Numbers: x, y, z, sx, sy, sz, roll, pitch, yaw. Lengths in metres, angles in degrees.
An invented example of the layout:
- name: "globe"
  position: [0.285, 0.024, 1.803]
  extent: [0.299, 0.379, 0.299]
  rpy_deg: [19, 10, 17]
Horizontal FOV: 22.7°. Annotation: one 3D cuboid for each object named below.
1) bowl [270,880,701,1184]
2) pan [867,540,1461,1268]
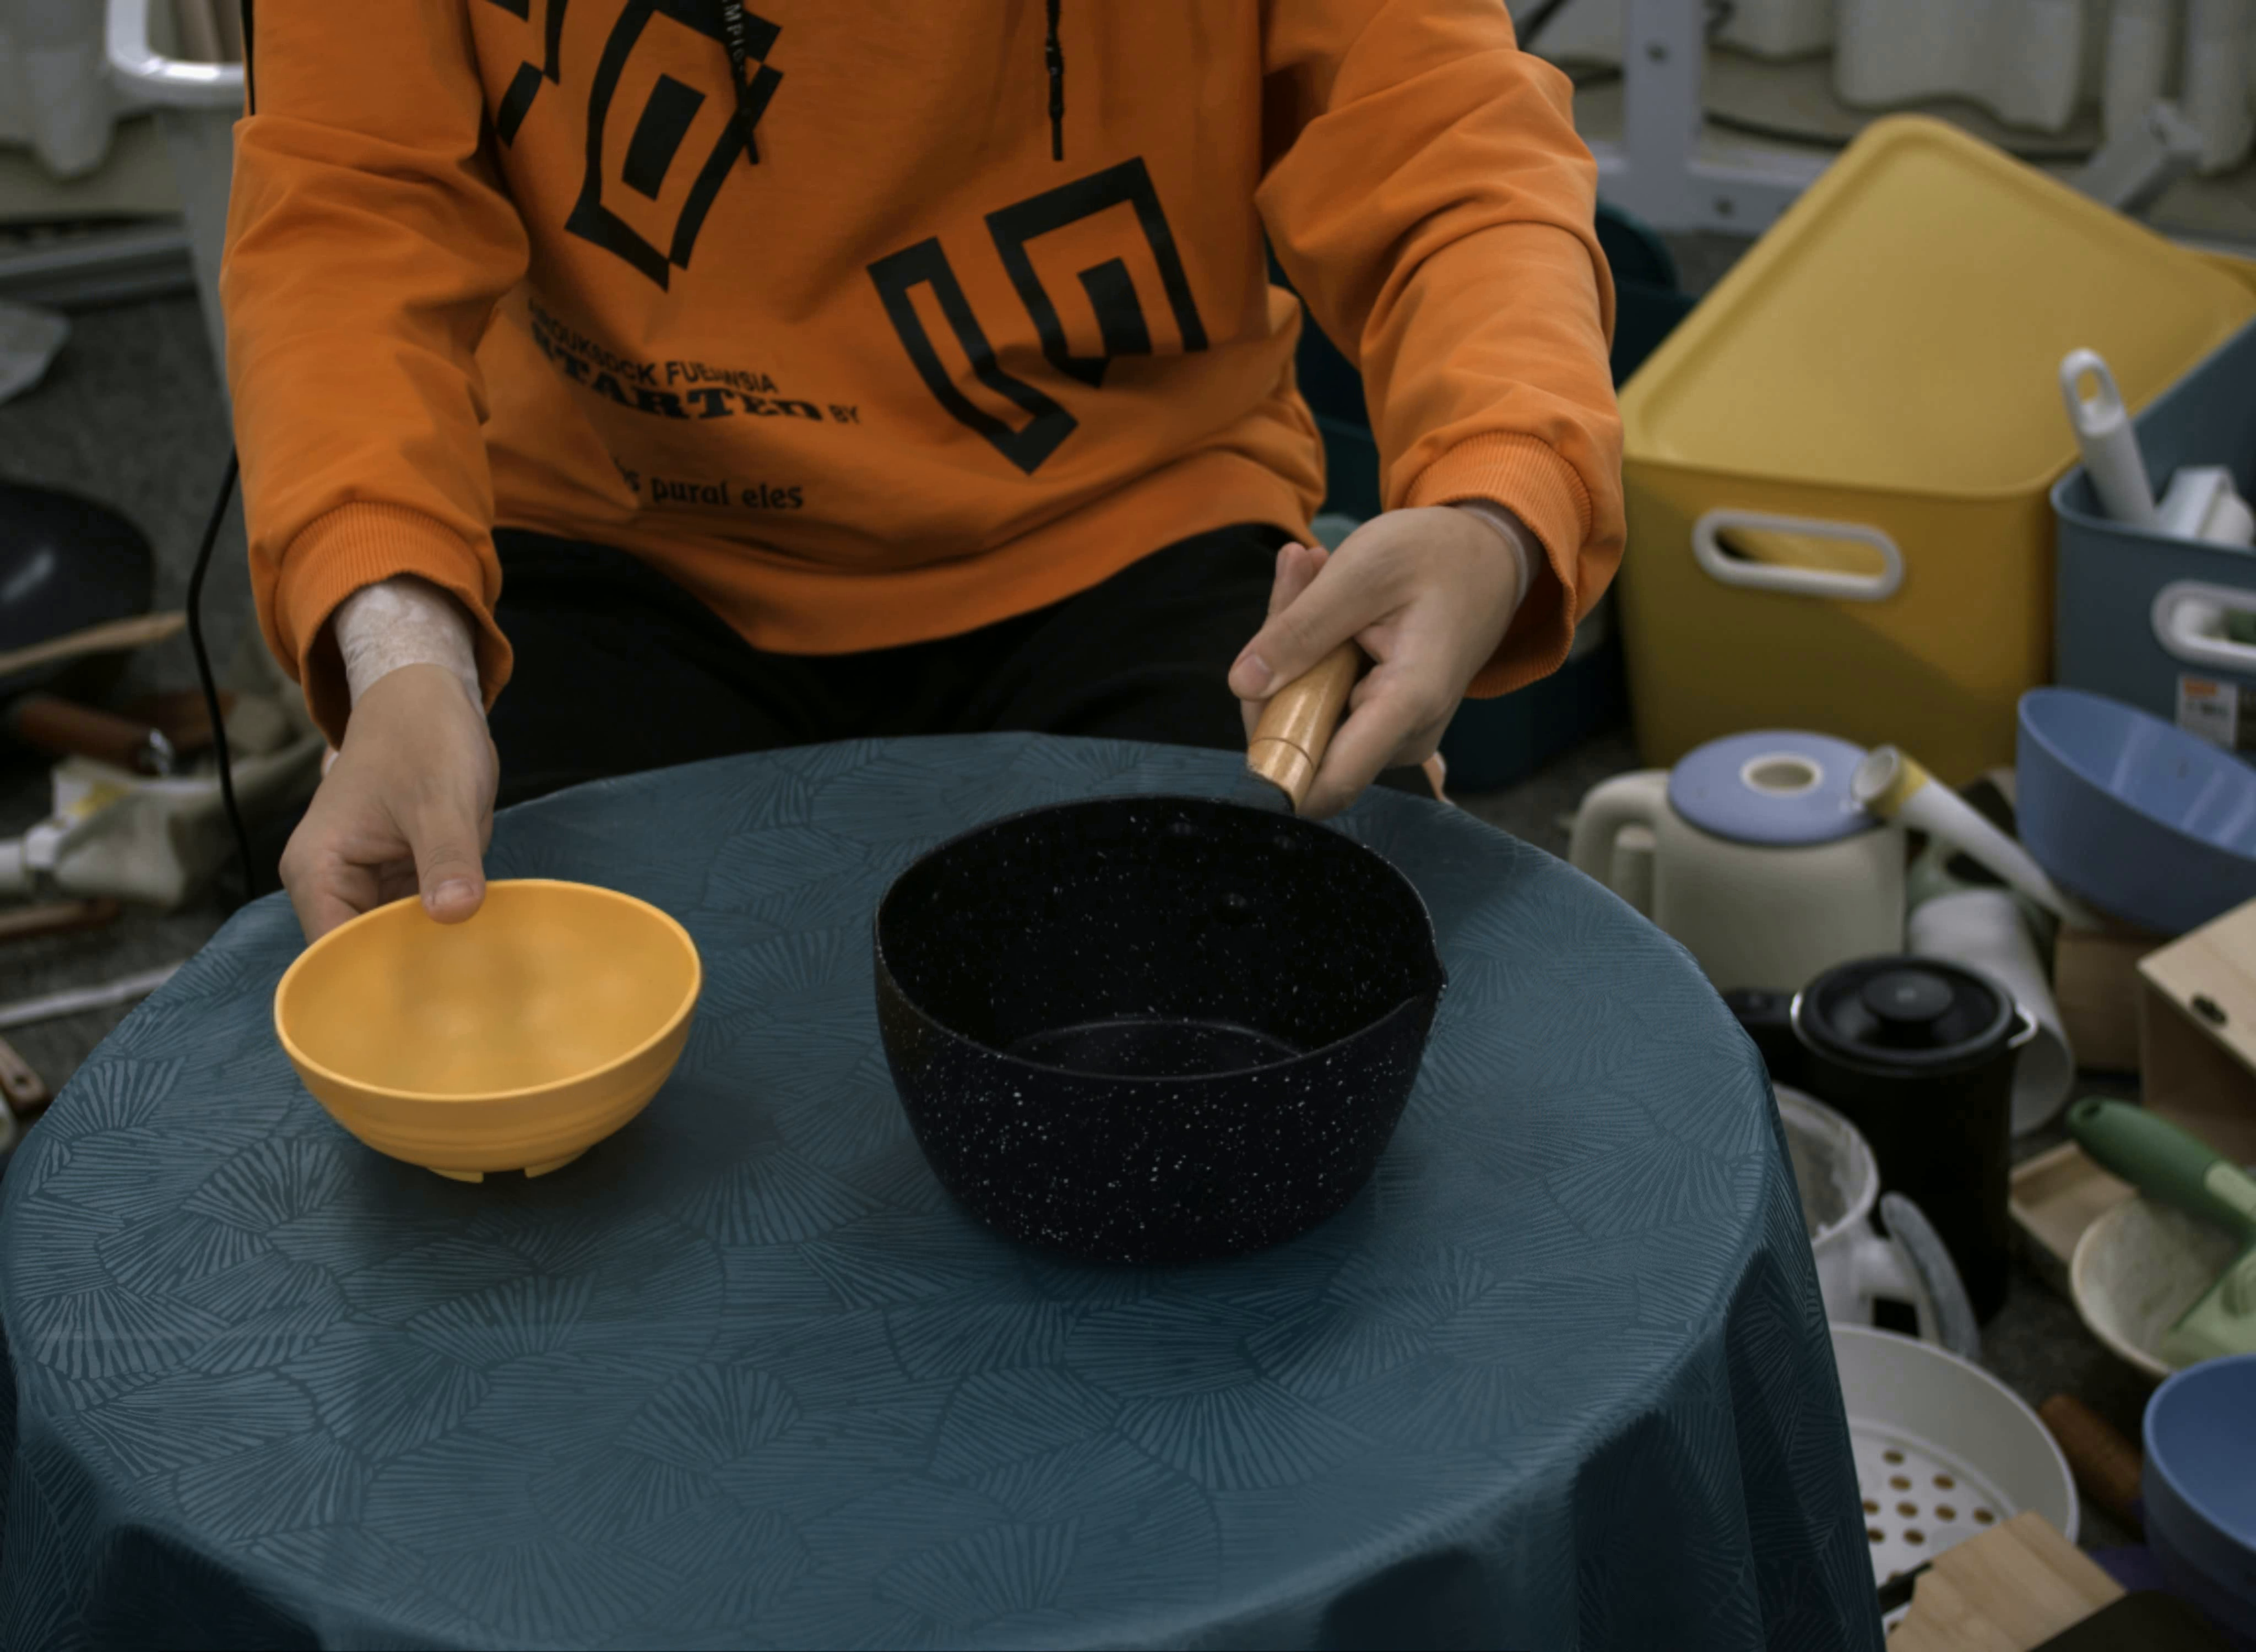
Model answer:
- name: "bowl"
  position: [-0.214, 0.079, 1.896]
  extent: [0.144, 0.059, 0.147]
  rpy_deg: [-2, 28, 1]
- name: "pan"
  position: [0.032, 0.022, 1.922]
  extent: [0.206, 0.107, 0.349]
  rpy_deg: [8, 31, 15]
